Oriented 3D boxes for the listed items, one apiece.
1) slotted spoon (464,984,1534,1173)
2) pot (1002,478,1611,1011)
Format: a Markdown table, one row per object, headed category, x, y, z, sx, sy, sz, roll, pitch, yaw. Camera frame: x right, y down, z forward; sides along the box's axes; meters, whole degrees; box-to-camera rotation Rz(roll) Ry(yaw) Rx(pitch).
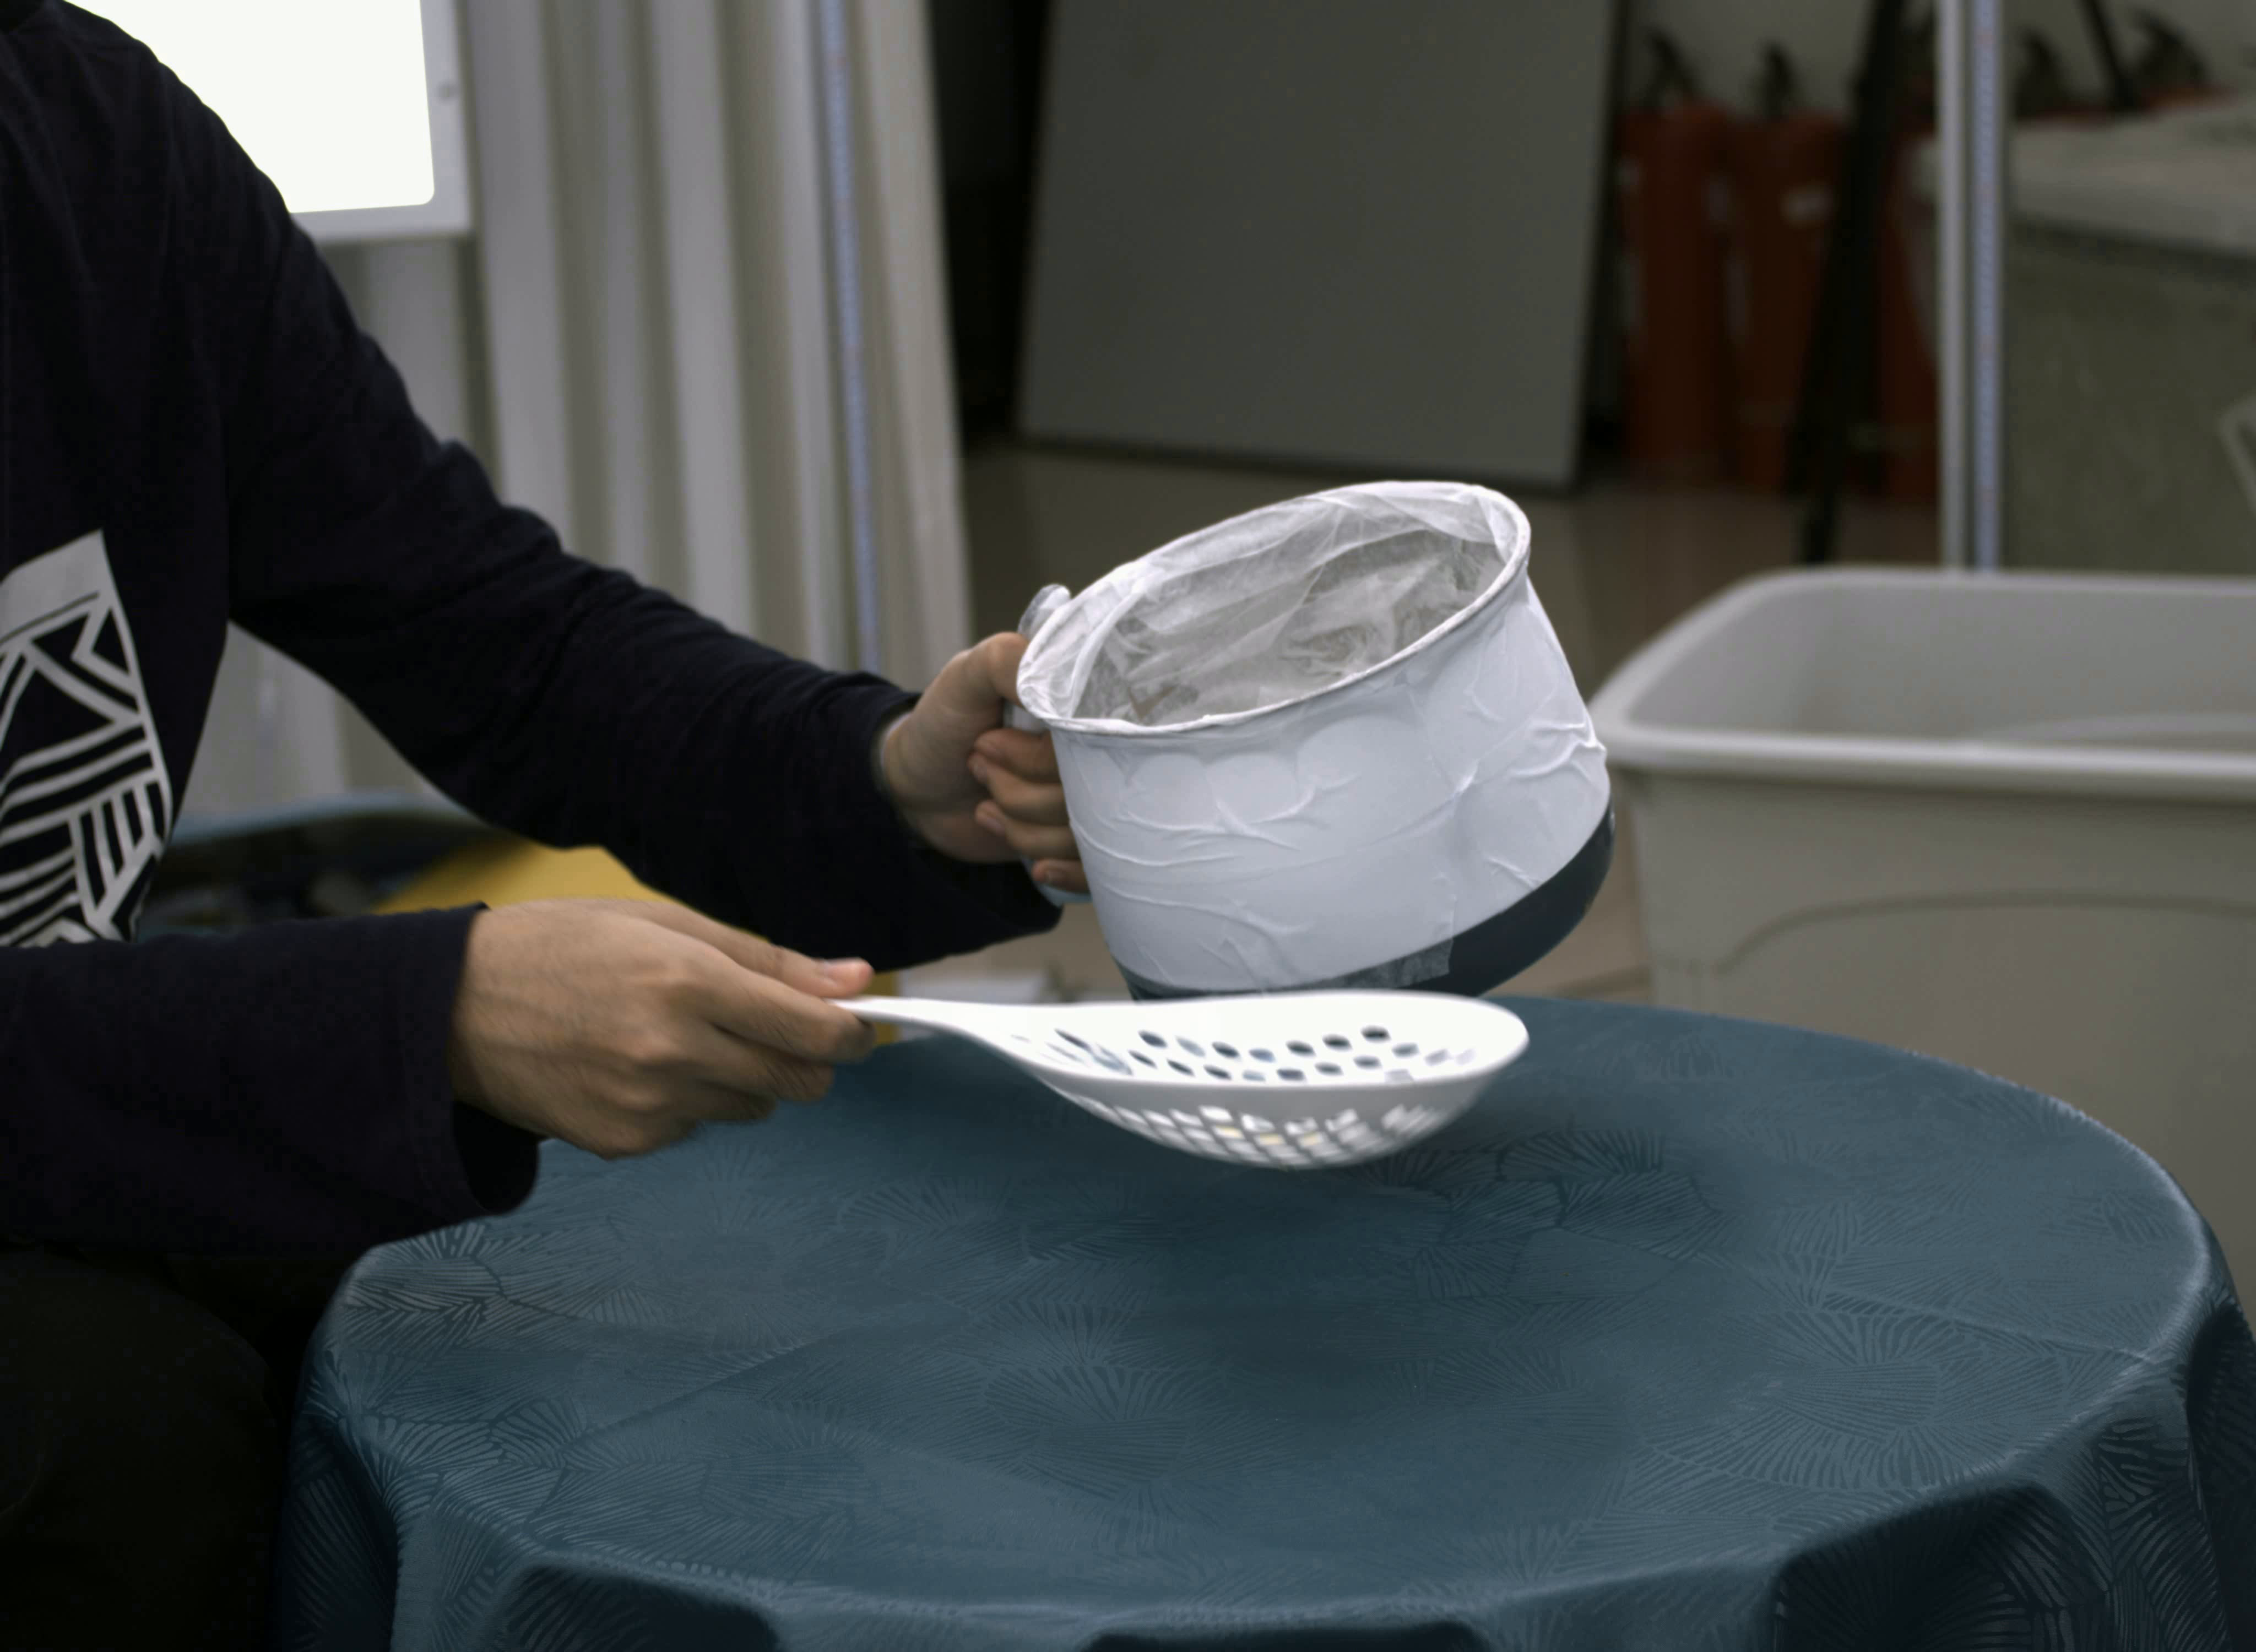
| category | x | y | z | sx | sy | sz | roll | pitch | yaw |
| --- | --- | --- | --- | --- | --- | --- | --- | --- | --- |
| slotted spoon | -0.046 | 0.070 | 1.623 | 0.348 | 0.051 | 0.135 | 6 | 11 | 26 |
| pot | 0.045 | -0.020 | 1.794 | 0.235 | 0.137 | 0.176 | 1 | 27 | 42 |
